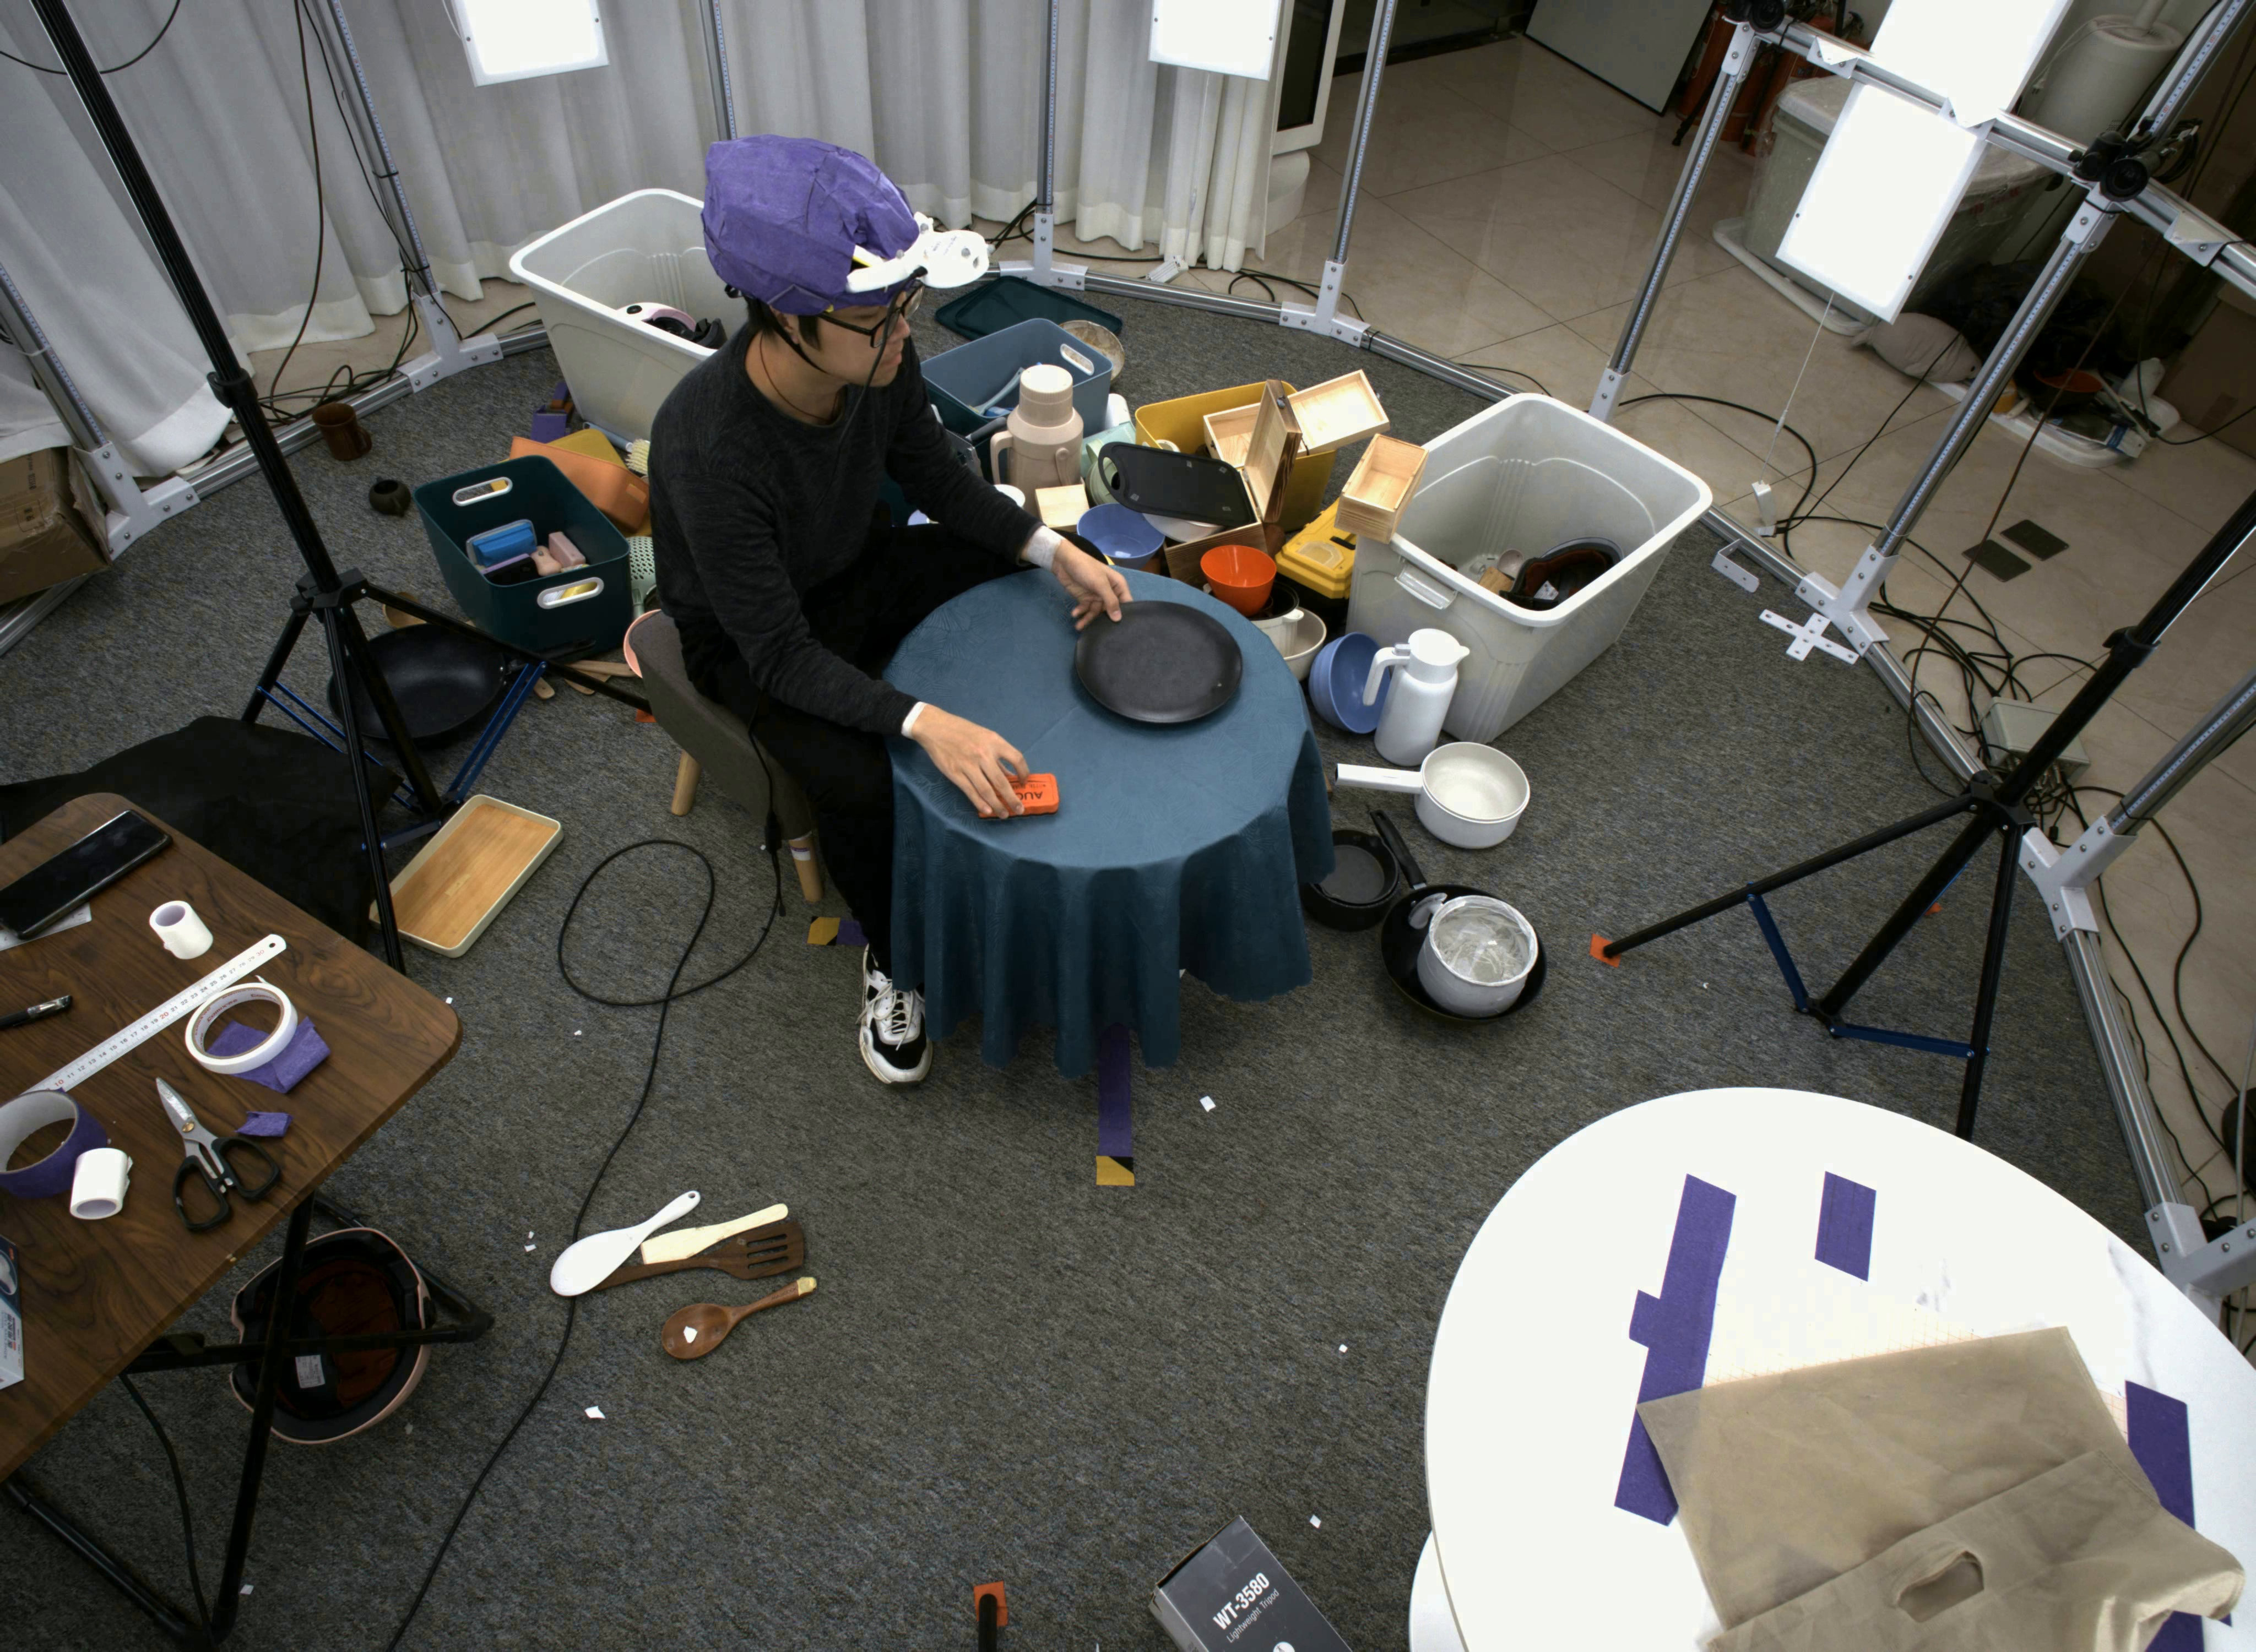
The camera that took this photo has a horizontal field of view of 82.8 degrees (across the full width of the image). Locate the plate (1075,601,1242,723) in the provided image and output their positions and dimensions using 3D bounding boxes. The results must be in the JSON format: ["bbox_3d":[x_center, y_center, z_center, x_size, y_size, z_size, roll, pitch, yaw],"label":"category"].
[{"bbox_3d":[0.044,-0.235,1.858,0.244,0.023,0.250,2,51,-2],"label":"plate"}]

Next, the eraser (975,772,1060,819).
[{"bbox_3d":[-0.145,-0.040,1.676,0.108,0.022,0.060,-5,44,-6],"label":"eraser"}]
